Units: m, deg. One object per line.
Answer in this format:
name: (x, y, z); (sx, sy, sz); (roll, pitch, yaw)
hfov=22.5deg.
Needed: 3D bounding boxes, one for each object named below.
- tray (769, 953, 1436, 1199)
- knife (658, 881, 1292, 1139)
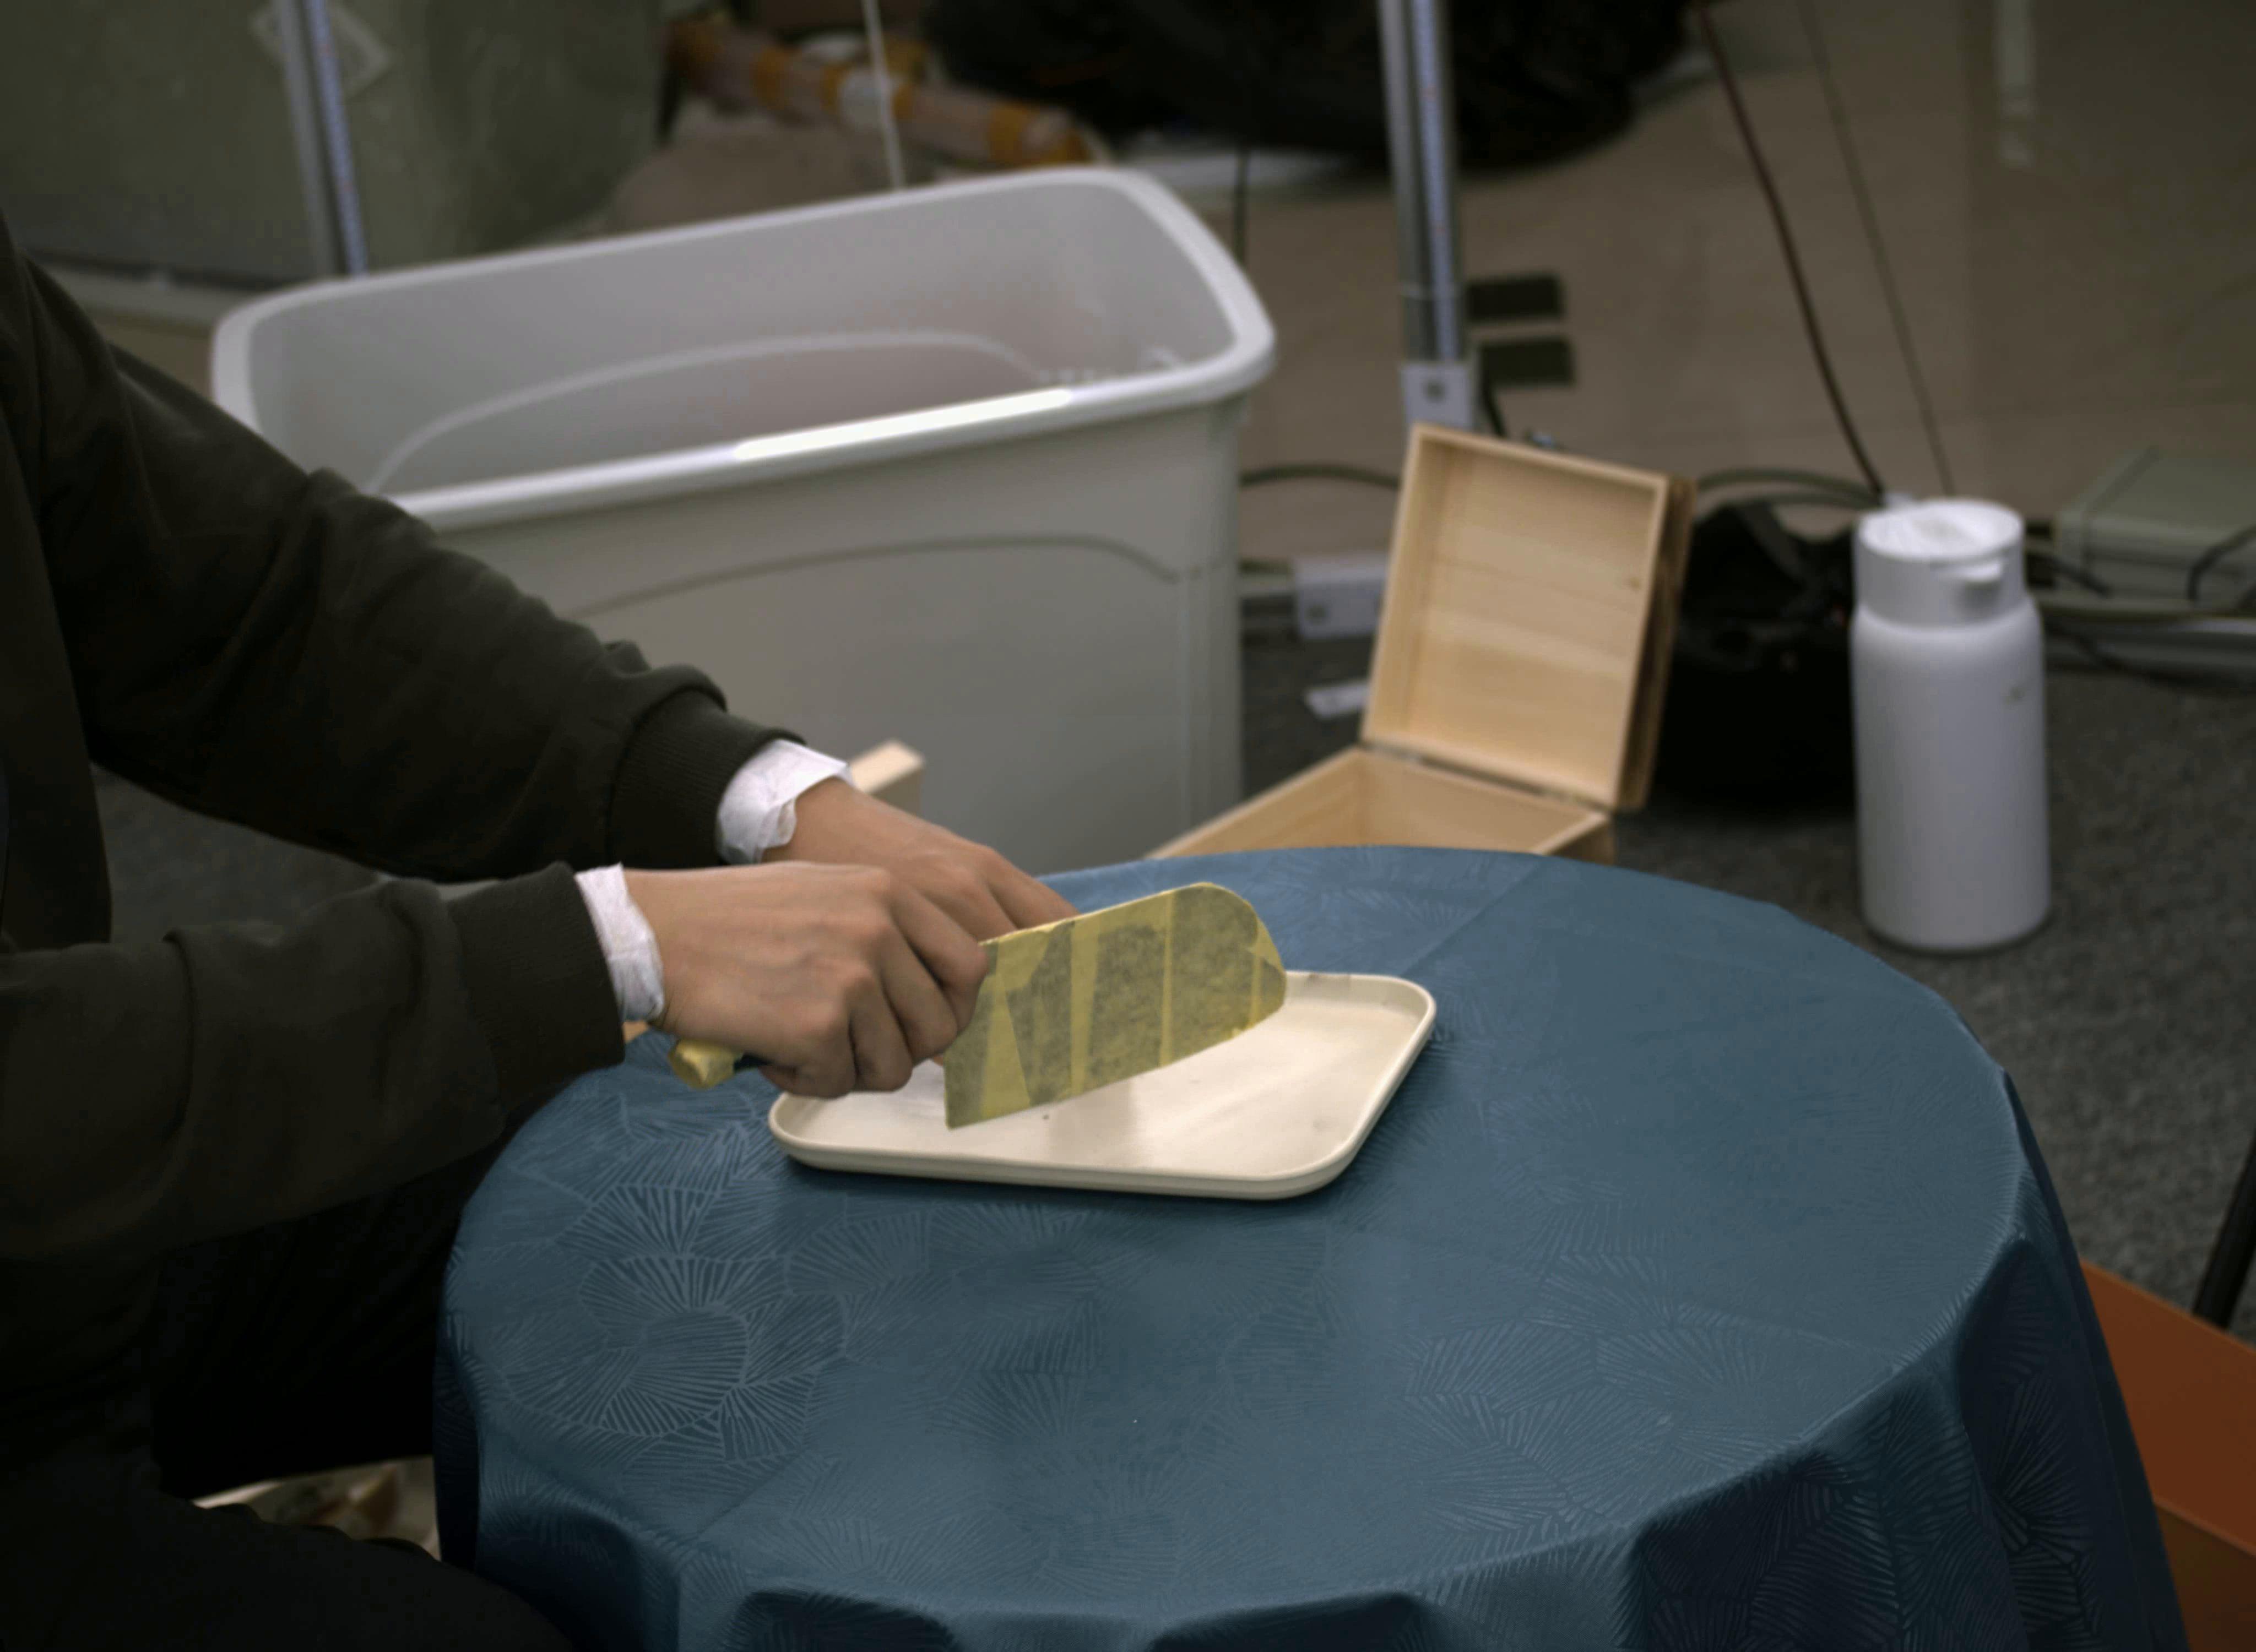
tray: (-0.009, 0.098, 2.221); (0.239, 0.018, 0.169); (3, 27, 20)
knife: (-0.050, 0.075, 2.102); (0.288, 0.082, 0.027); (-11, 22, -36)
